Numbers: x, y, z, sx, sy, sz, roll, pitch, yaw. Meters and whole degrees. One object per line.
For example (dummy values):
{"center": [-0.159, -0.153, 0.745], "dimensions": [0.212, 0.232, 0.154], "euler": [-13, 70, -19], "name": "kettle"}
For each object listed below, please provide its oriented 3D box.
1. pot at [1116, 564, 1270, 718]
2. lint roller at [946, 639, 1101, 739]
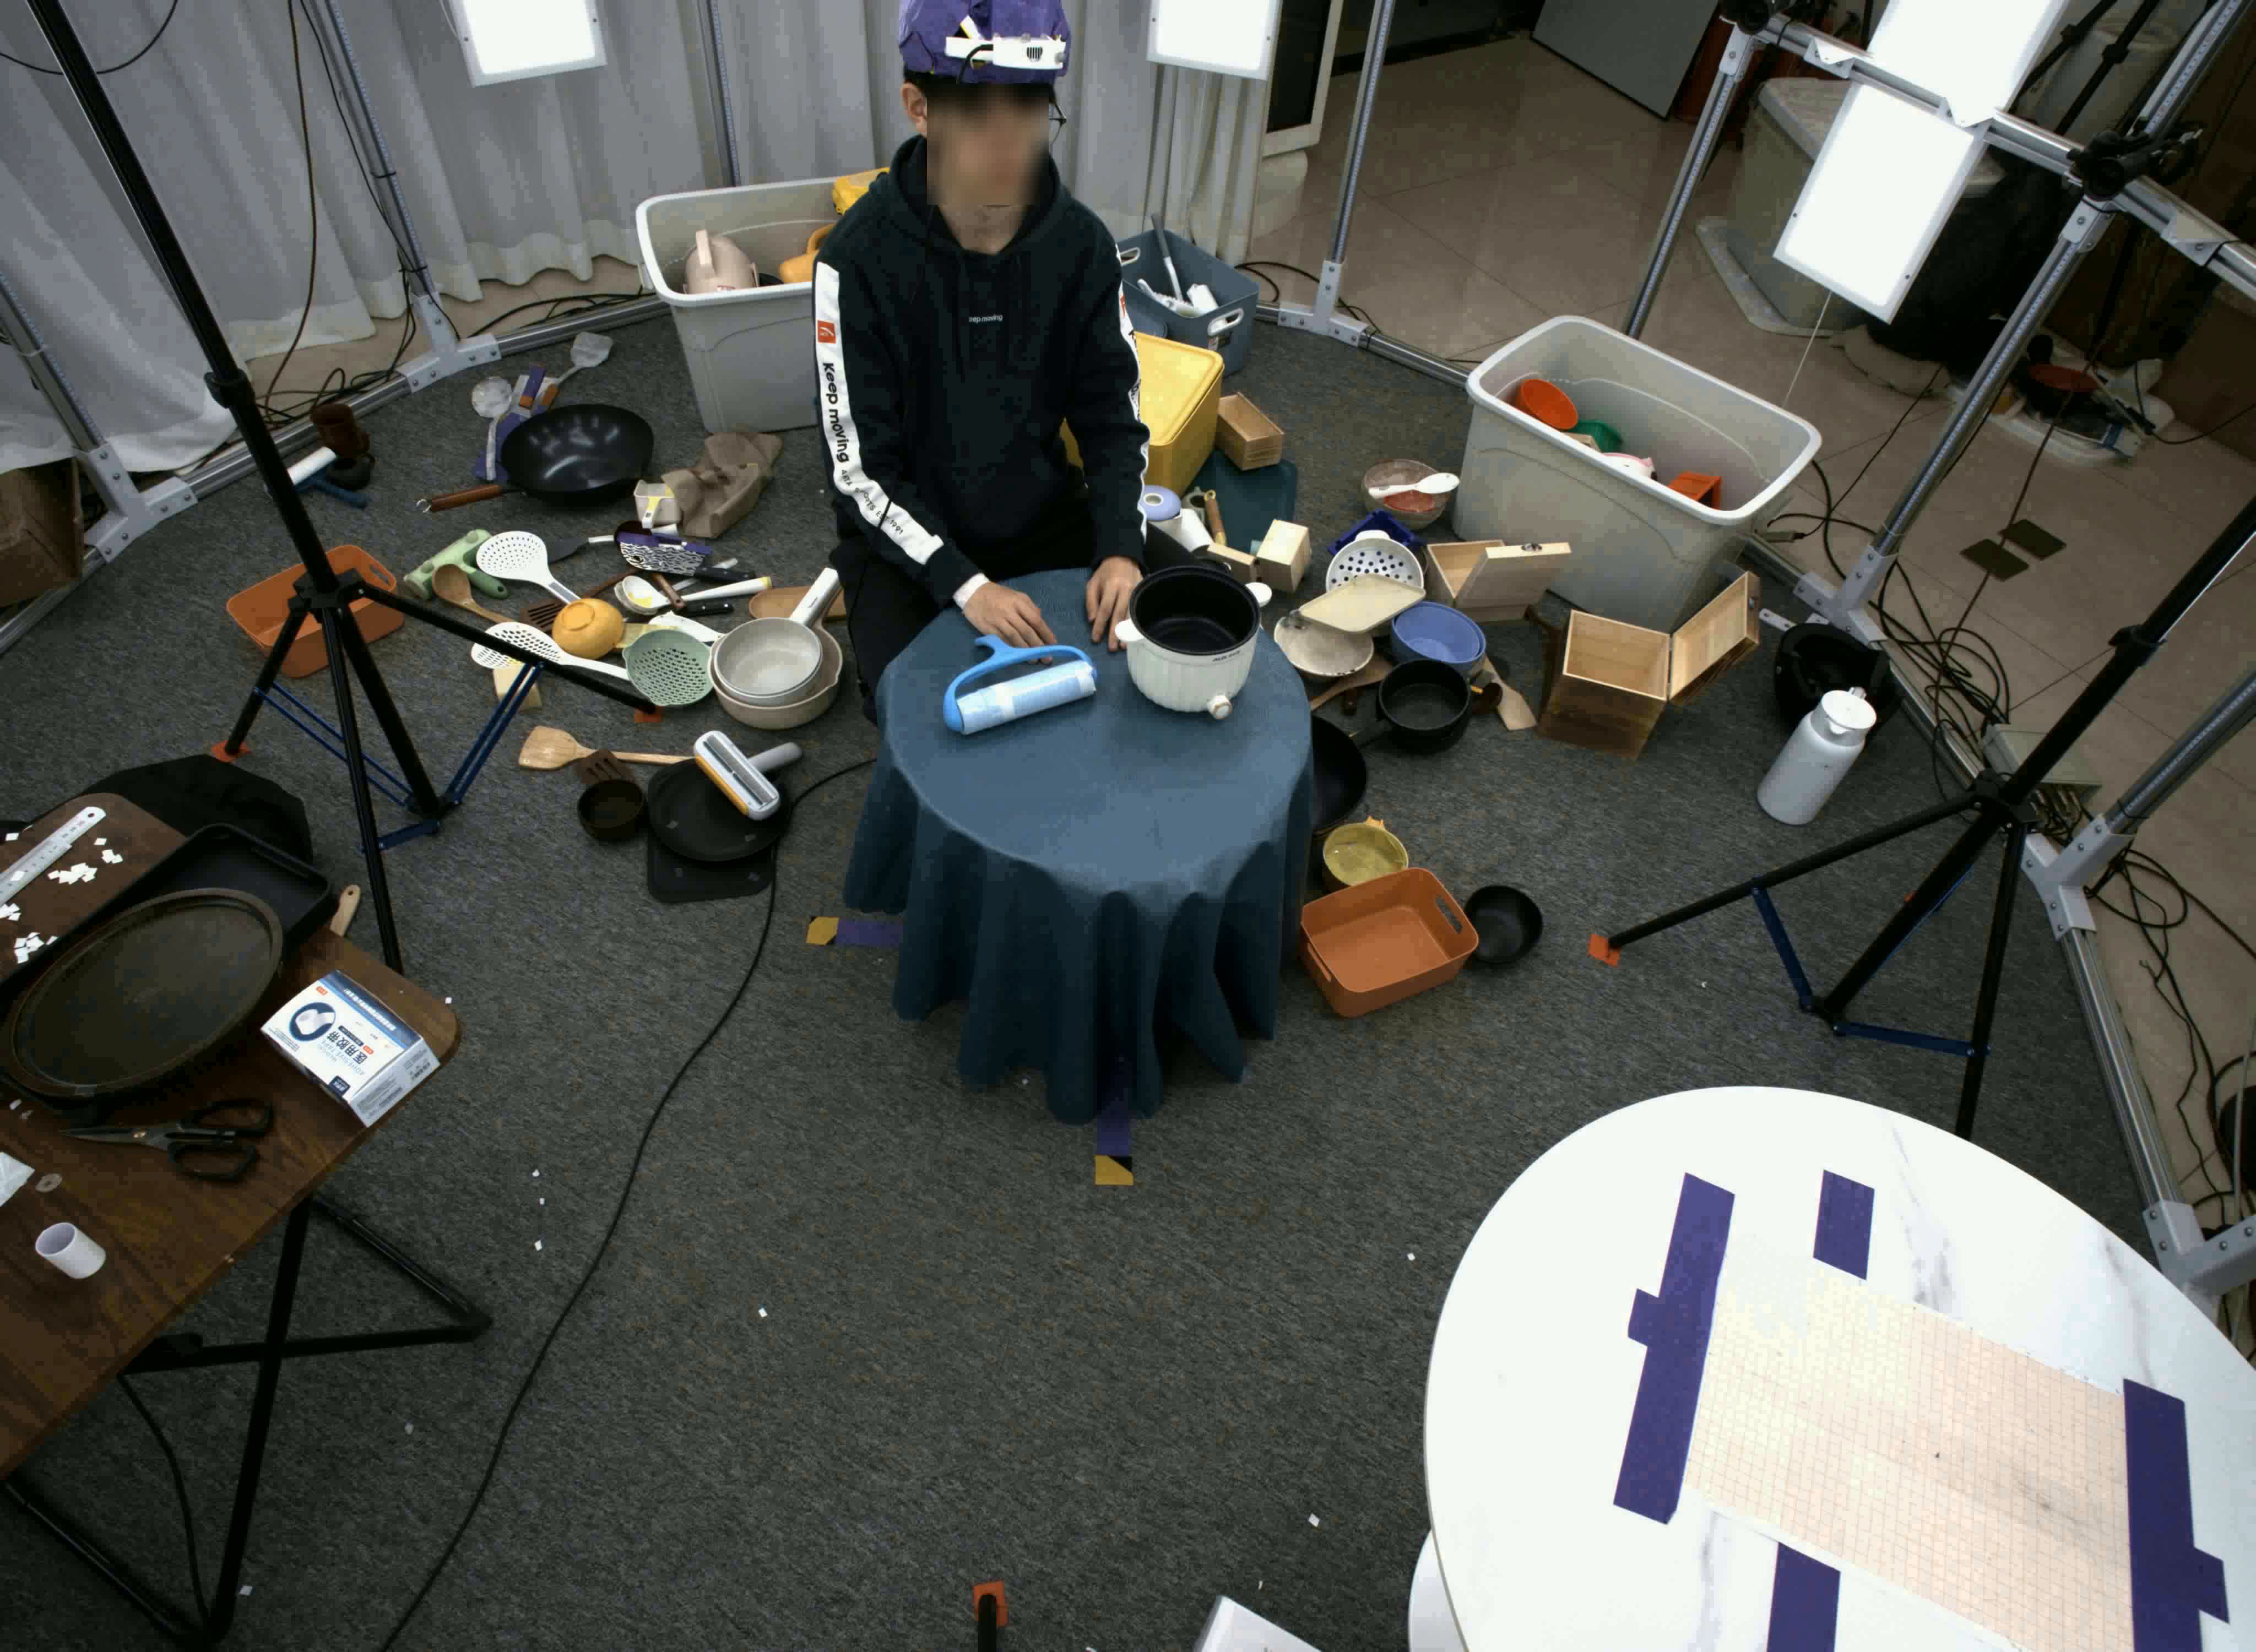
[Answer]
{"center": [0.092, -0.253, 1.804], "dimensions": [0.241, 0.139, 0.195], "euler": [-21, 51, -19], "name": "pot"}
{"center": [-0.172, -0.219, 1.811], "dimensions": [0.229, 0.066, 0.184], "euler": [-24, 55, -20], "name": "lint roller"}
